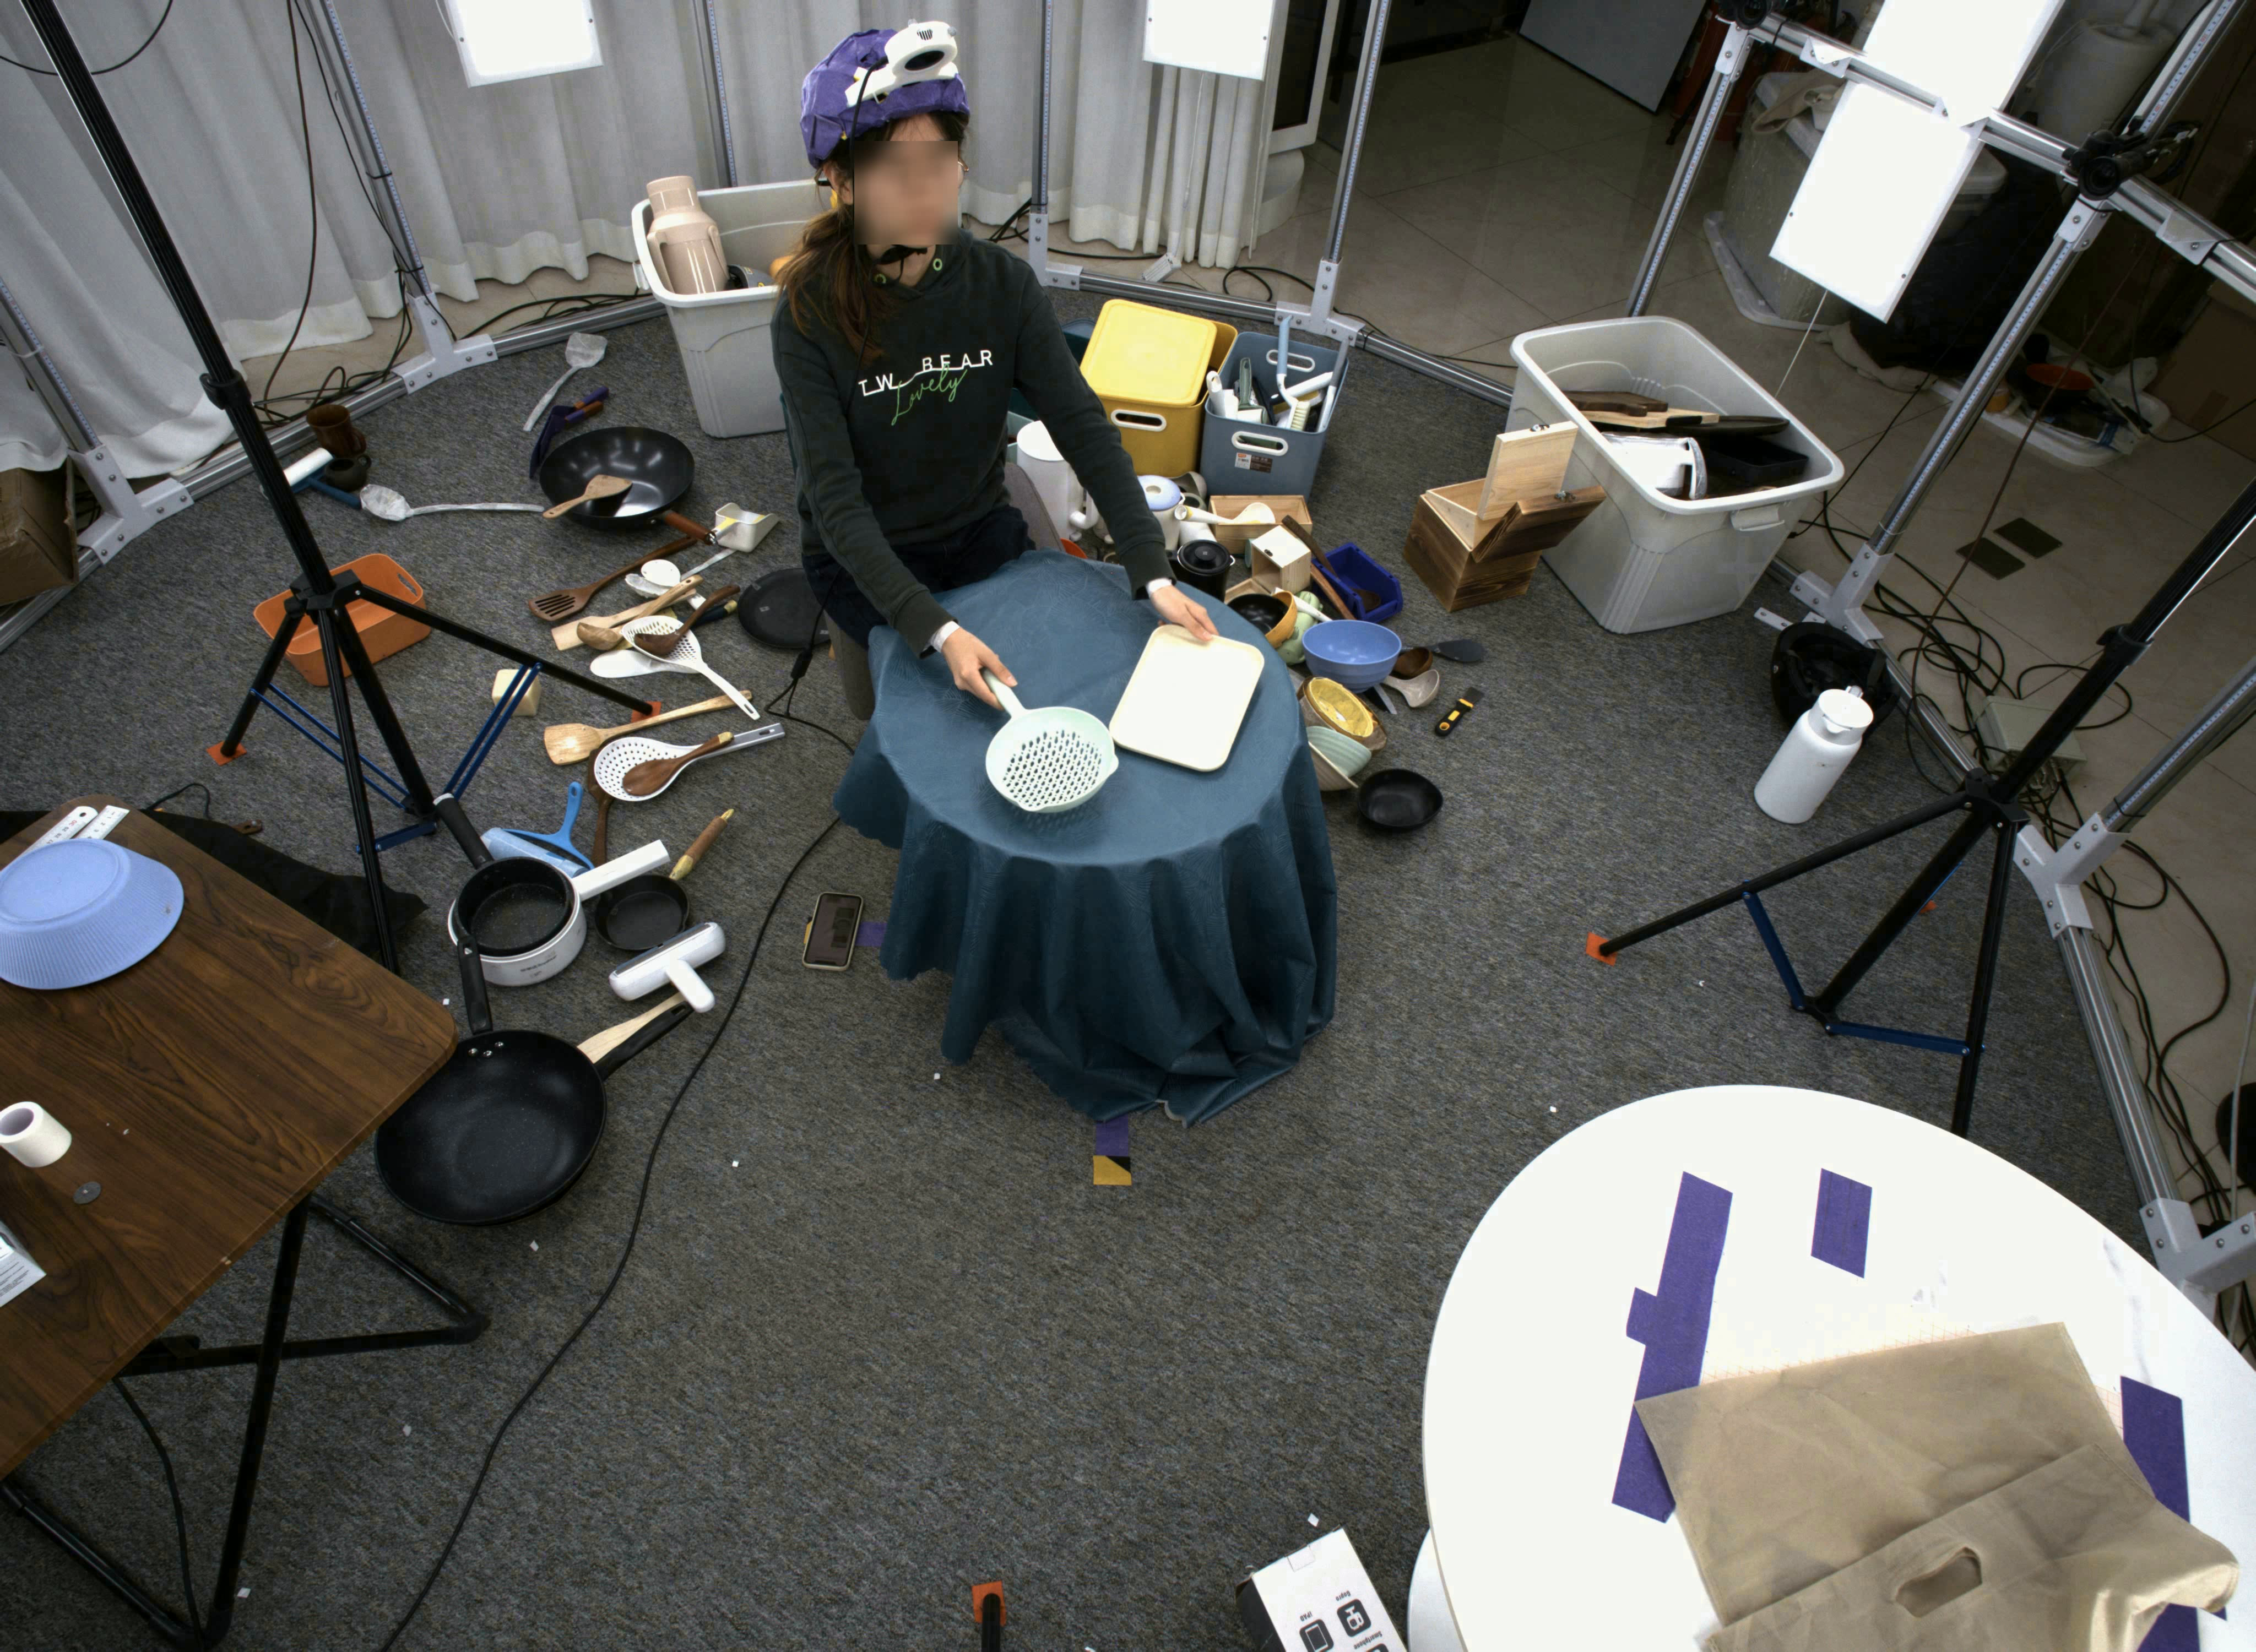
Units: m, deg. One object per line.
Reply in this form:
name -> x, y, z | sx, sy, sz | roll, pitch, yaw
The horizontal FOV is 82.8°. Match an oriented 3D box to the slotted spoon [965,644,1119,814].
slotted spoon -> -0.146, -0.148, 1.751 | 0.170, 0.073, 0.366 | -26, 59, -13

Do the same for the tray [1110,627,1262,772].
tray -> 0.084, -0.181, 1.823 | 0.172, 0.017, 0.244 | 16, 55, 10
